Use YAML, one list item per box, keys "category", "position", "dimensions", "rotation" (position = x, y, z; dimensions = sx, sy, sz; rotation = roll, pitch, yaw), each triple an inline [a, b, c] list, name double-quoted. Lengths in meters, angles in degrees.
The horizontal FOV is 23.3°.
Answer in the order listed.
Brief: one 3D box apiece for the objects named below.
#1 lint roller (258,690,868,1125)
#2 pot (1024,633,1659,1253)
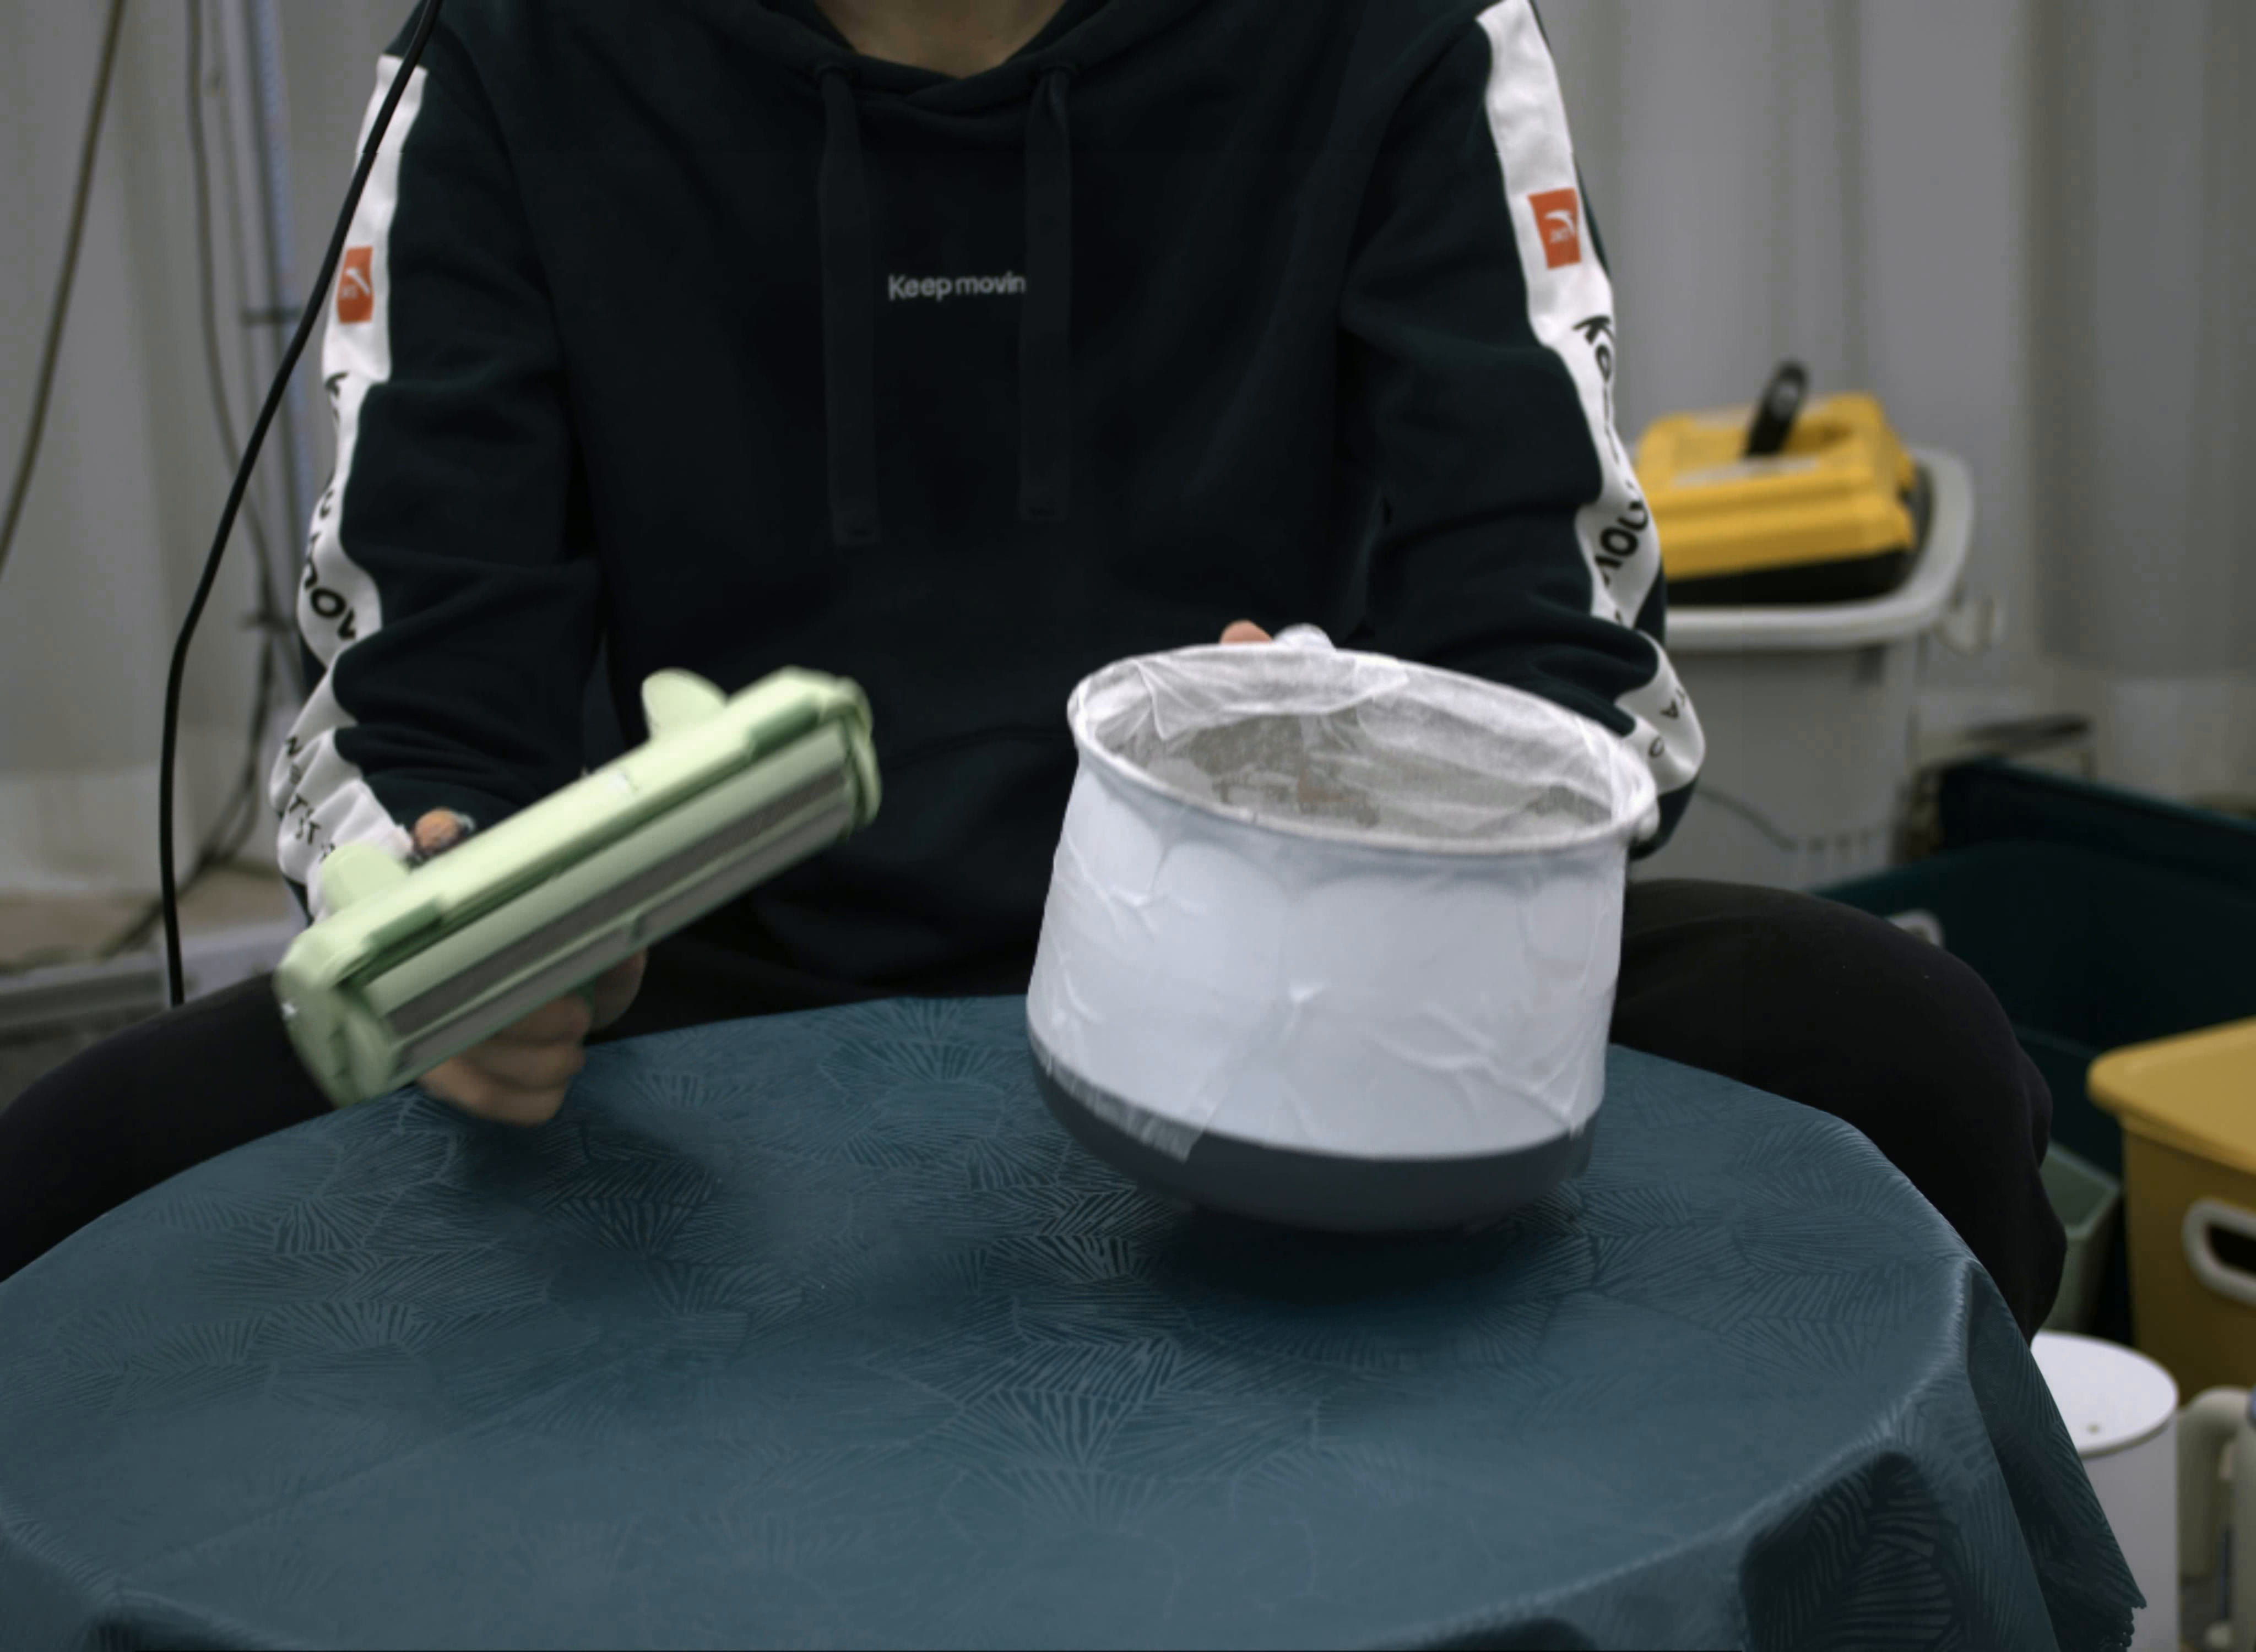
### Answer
- category: "lint roller"
  position: [-0.190, 0.031, 1.702]
  dimensions: [0.198, 0.082, 0.182]
  rotation: [-29, -3, -24]
- category: "pot"
  position: [0.057, 0.029, 1.665]
  dimensions: [0.178, 0.136, 0.236]
  rotation: [5, 20, -10]
